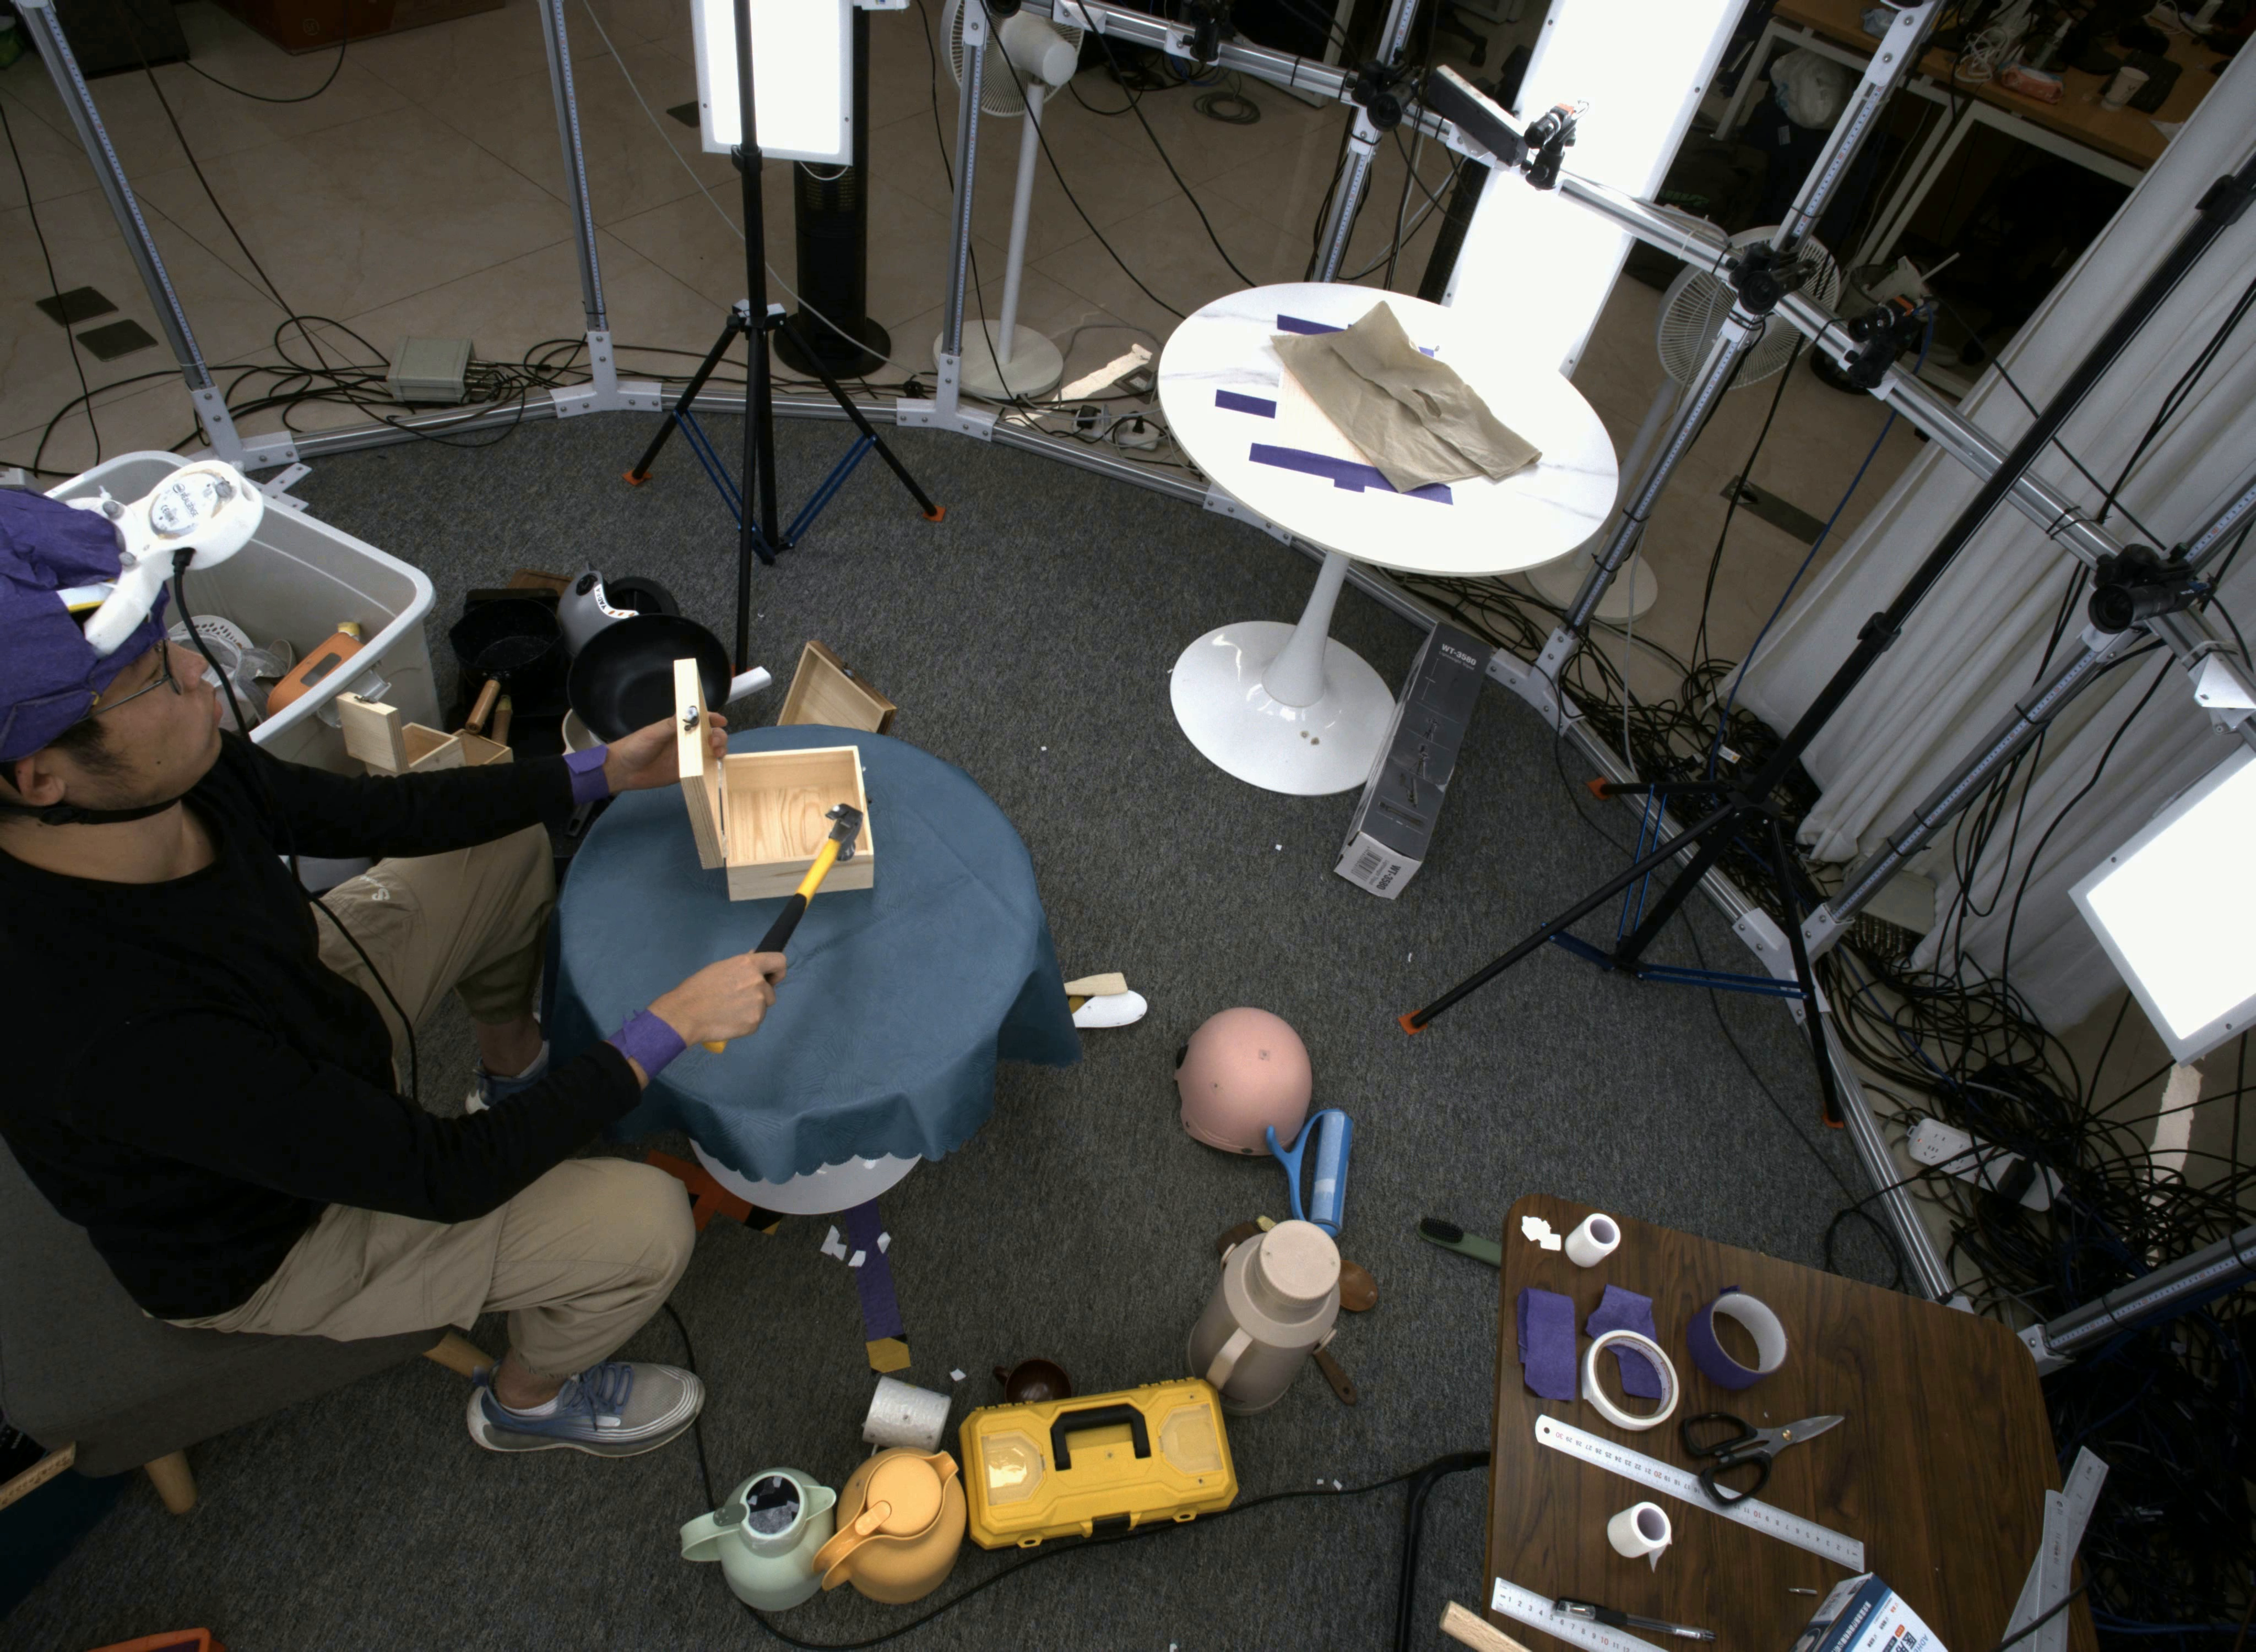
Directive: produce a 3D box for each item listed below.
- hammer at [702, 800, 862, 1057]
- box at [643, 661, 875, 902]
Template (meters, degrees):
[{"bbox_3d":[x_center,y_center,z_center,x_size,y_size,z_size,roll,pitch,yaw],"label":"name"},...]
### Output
[{"bbox_3d":[-0.385,0.108,1.455,0.032,0.133,0.336,25,55,-1],"label":"hammer"},{"bbox_3d":[-0.449,-0.059,1.597,0.266,0.258,0.178,-6,56,-18],"label":"box"}]
